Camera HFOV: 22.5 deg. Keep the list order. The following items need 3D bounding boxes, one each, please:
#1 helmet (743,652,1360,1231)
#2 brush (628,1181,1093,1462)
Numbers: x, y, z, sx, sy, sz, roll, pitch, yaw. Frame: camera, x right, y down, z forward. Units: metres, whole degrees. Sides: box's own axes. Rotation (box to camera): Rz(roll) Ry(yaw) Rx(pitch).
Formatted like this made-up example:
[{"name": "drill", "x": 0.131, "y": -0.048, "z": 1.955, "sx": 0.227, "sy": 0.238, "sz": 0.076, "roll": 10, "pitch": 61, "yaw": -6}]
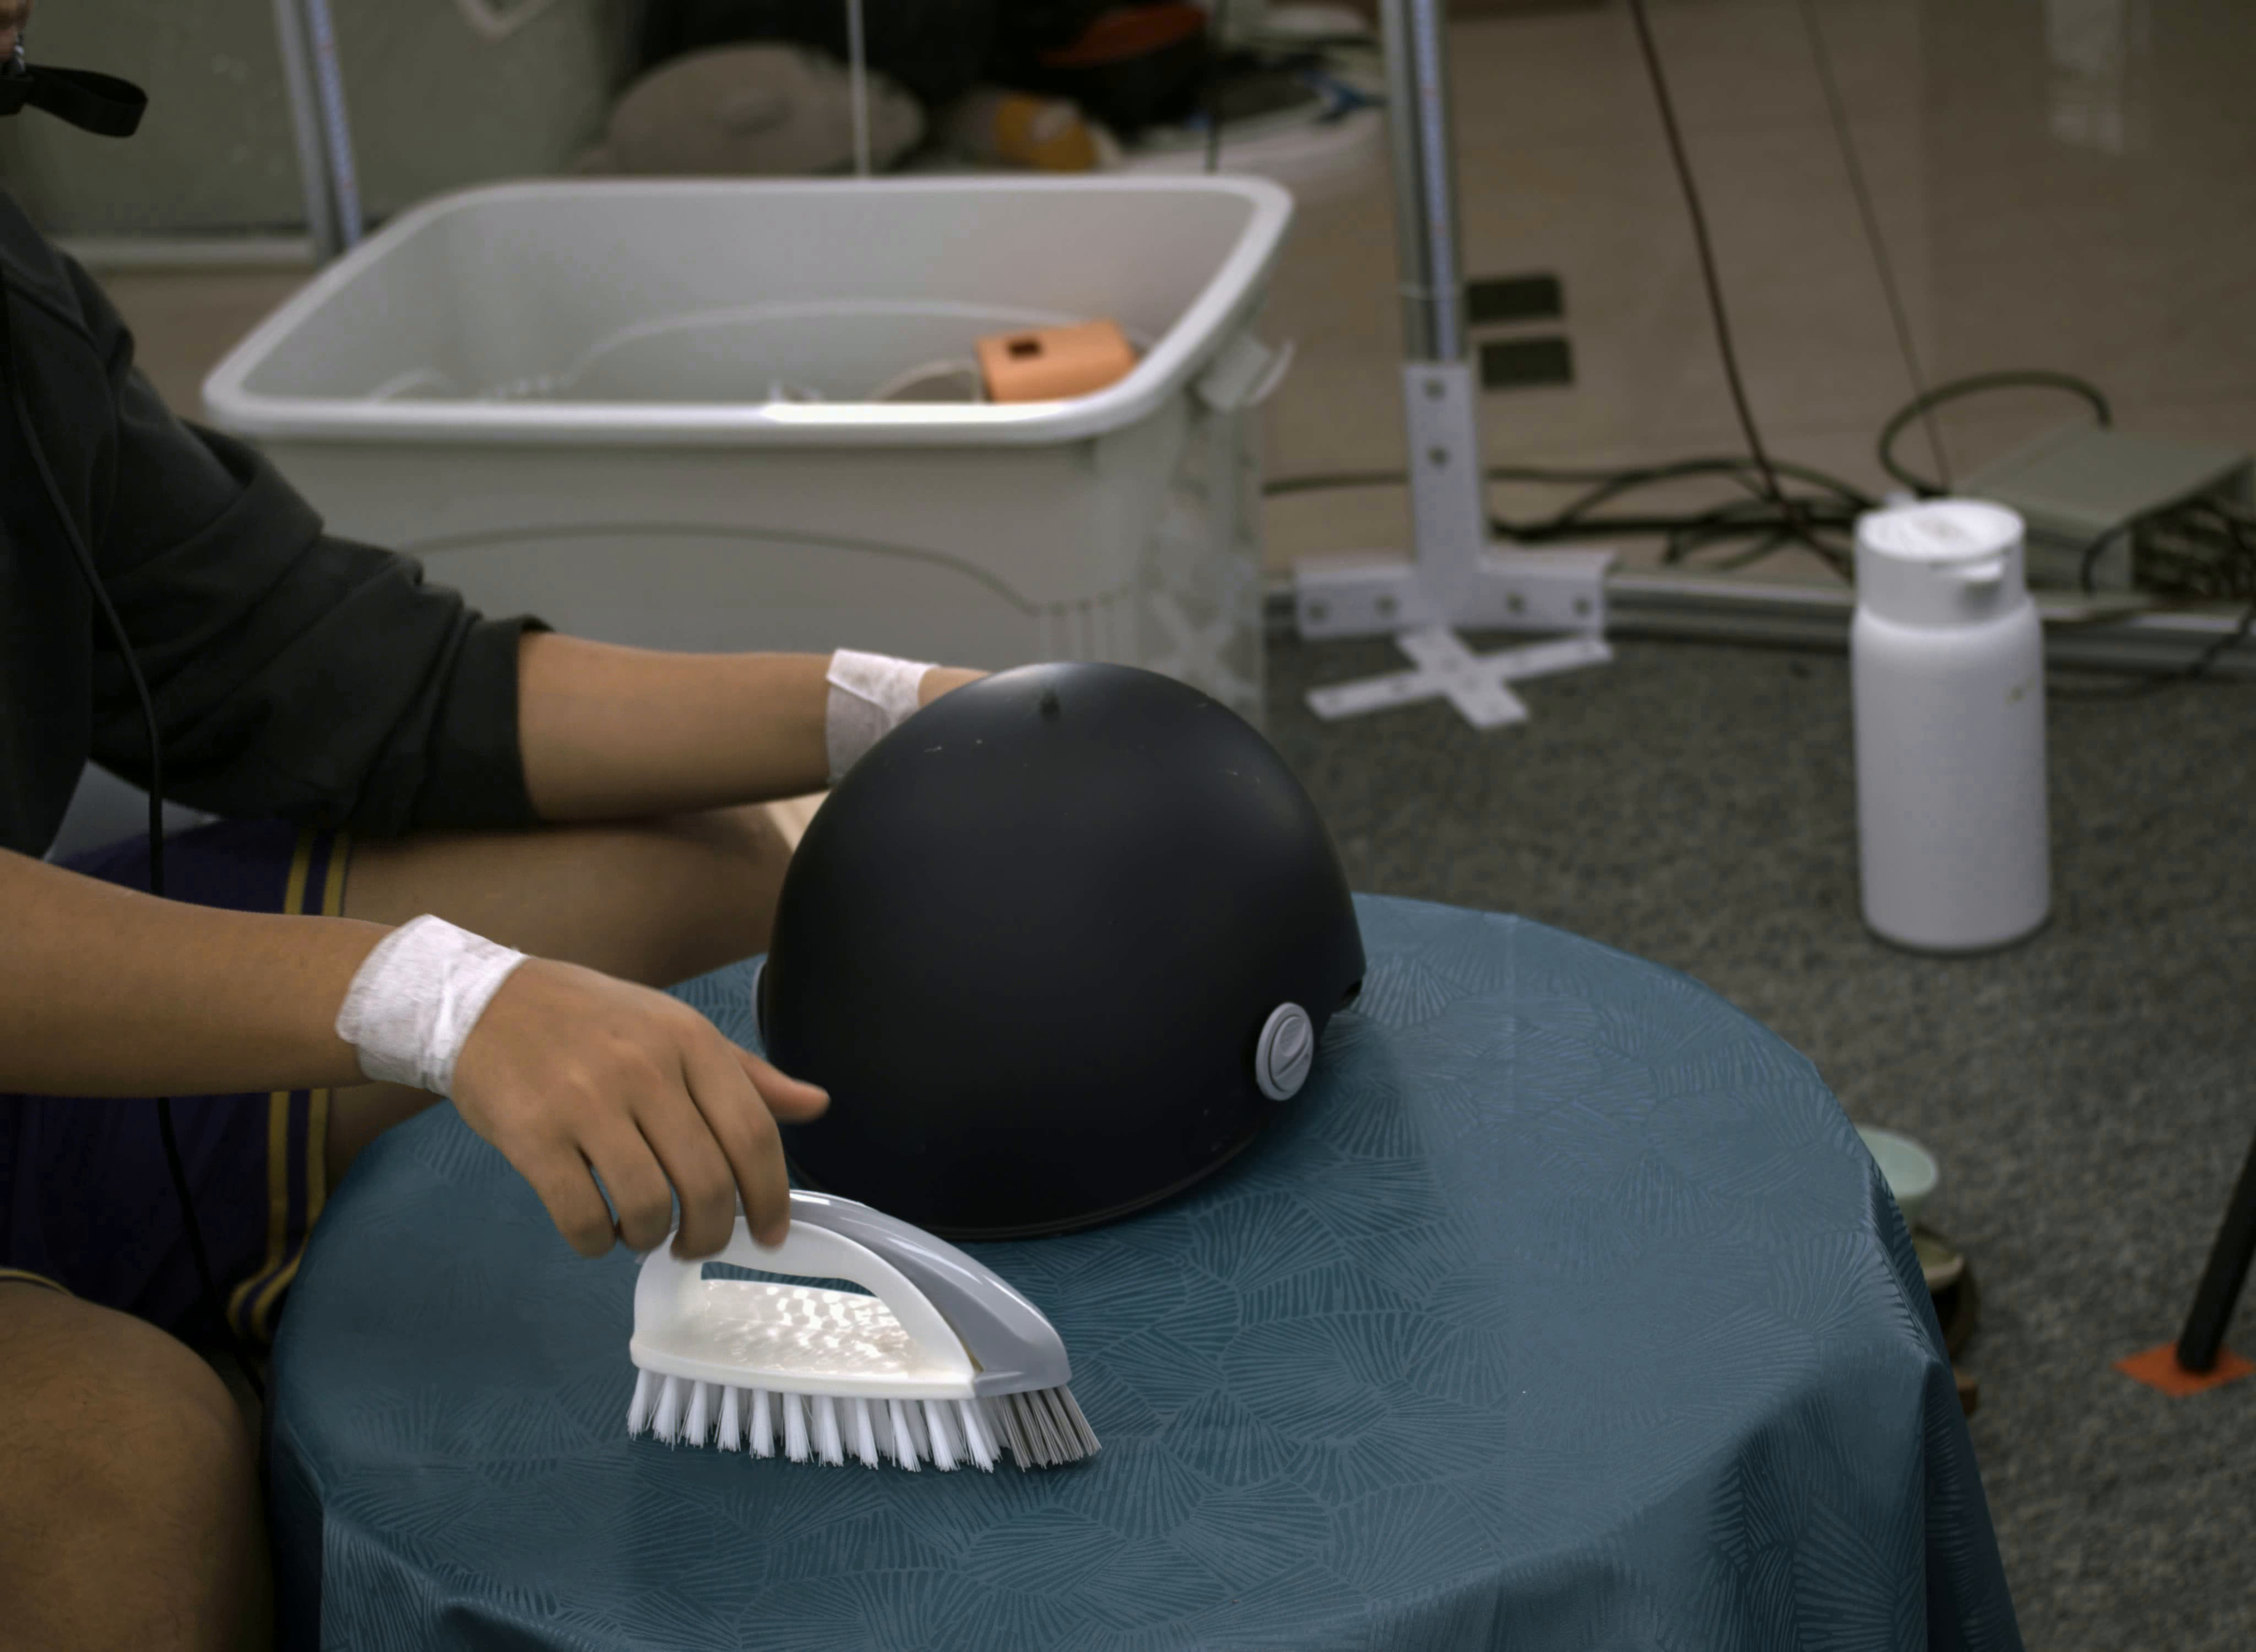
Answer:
[{"name": "helmet", "x": -0.034, "y": 0.028, "z": 2.202, "sx": 0.229, "sy": 0.169, "sz": 0.269, "roll": 5, "pitch": 30, "yaw": 24}, {"name": "brush", "x": -0.096, "y": 0.171, "z": 1.991, "sx": 0.175, "sy": 0.096, "sz": 0.060, "roll": 8, "pitch": 31, "yaw": 24}]
